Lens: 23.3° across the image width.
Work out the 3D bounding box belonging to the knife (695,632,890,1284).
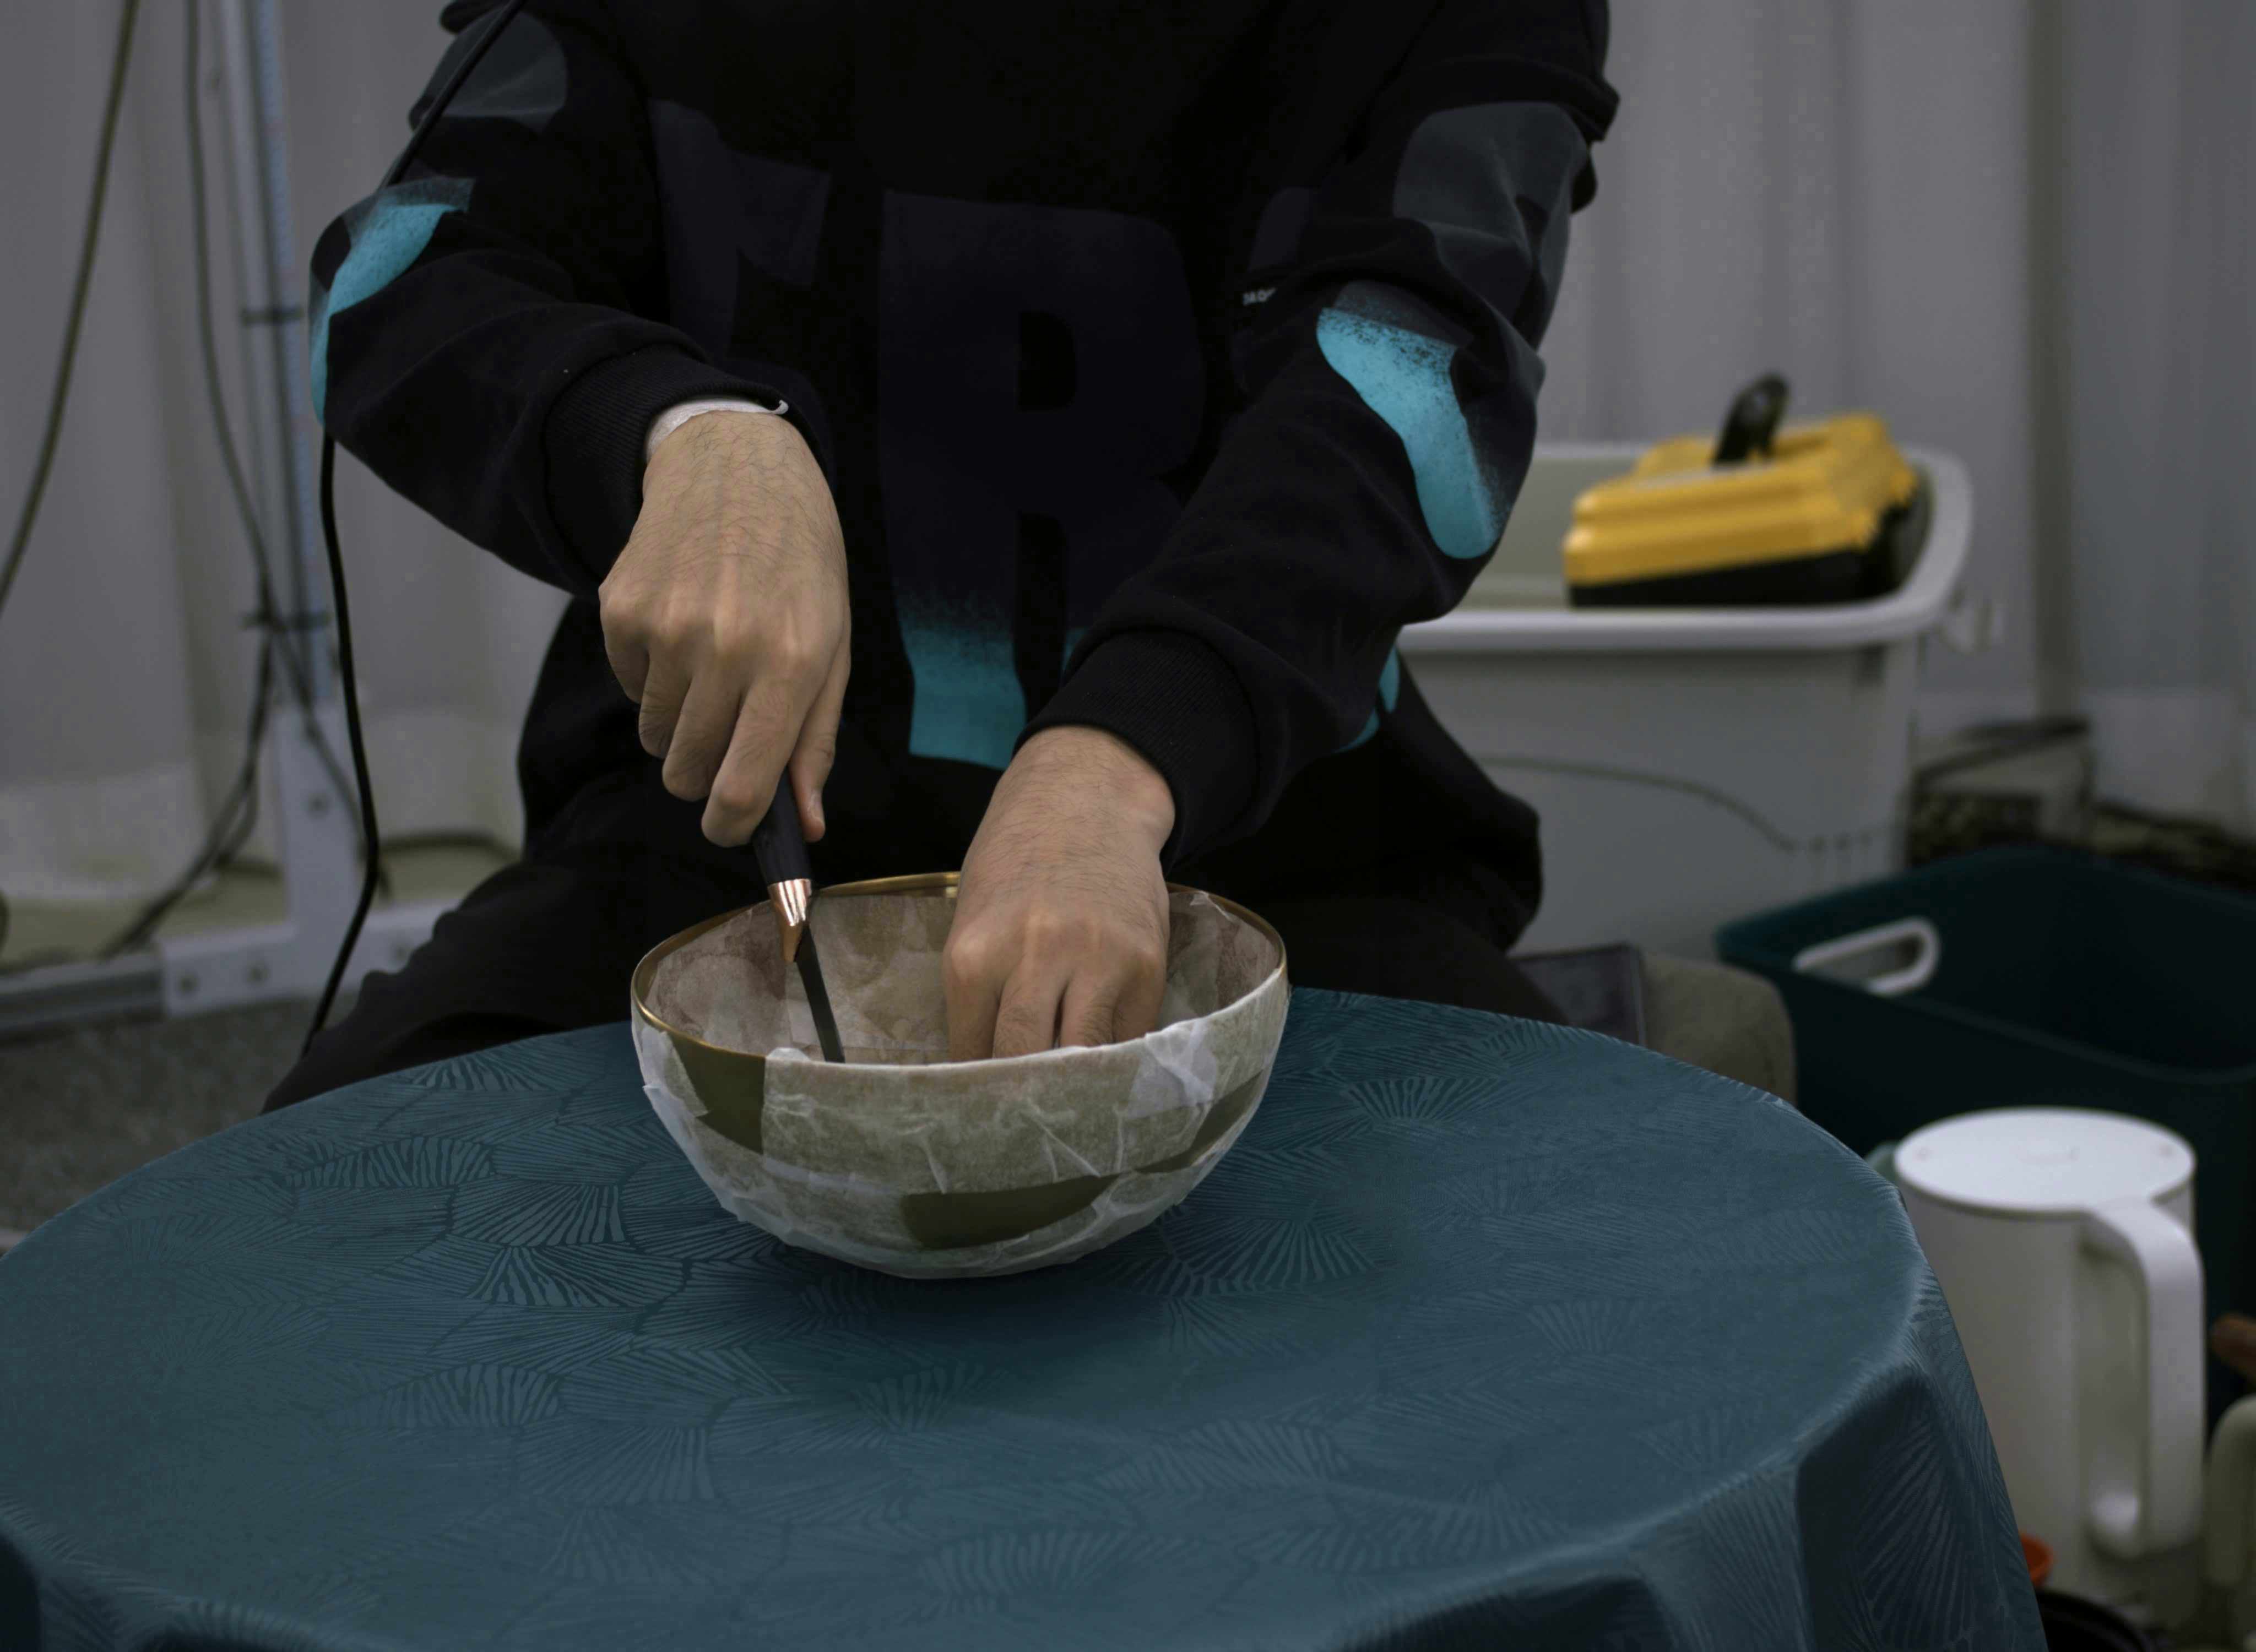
[{"bbox_3d":[-0.103,0.039,1.710,0.017,0.228,0.026,-5,-29,-24],"label":"knife"}]

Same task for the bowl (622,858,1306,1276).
[{"bbox_3d":[-0.048,0.081,1.667,0.214,0.094,0.216,-4,15,1],"label":"bowl"}]
